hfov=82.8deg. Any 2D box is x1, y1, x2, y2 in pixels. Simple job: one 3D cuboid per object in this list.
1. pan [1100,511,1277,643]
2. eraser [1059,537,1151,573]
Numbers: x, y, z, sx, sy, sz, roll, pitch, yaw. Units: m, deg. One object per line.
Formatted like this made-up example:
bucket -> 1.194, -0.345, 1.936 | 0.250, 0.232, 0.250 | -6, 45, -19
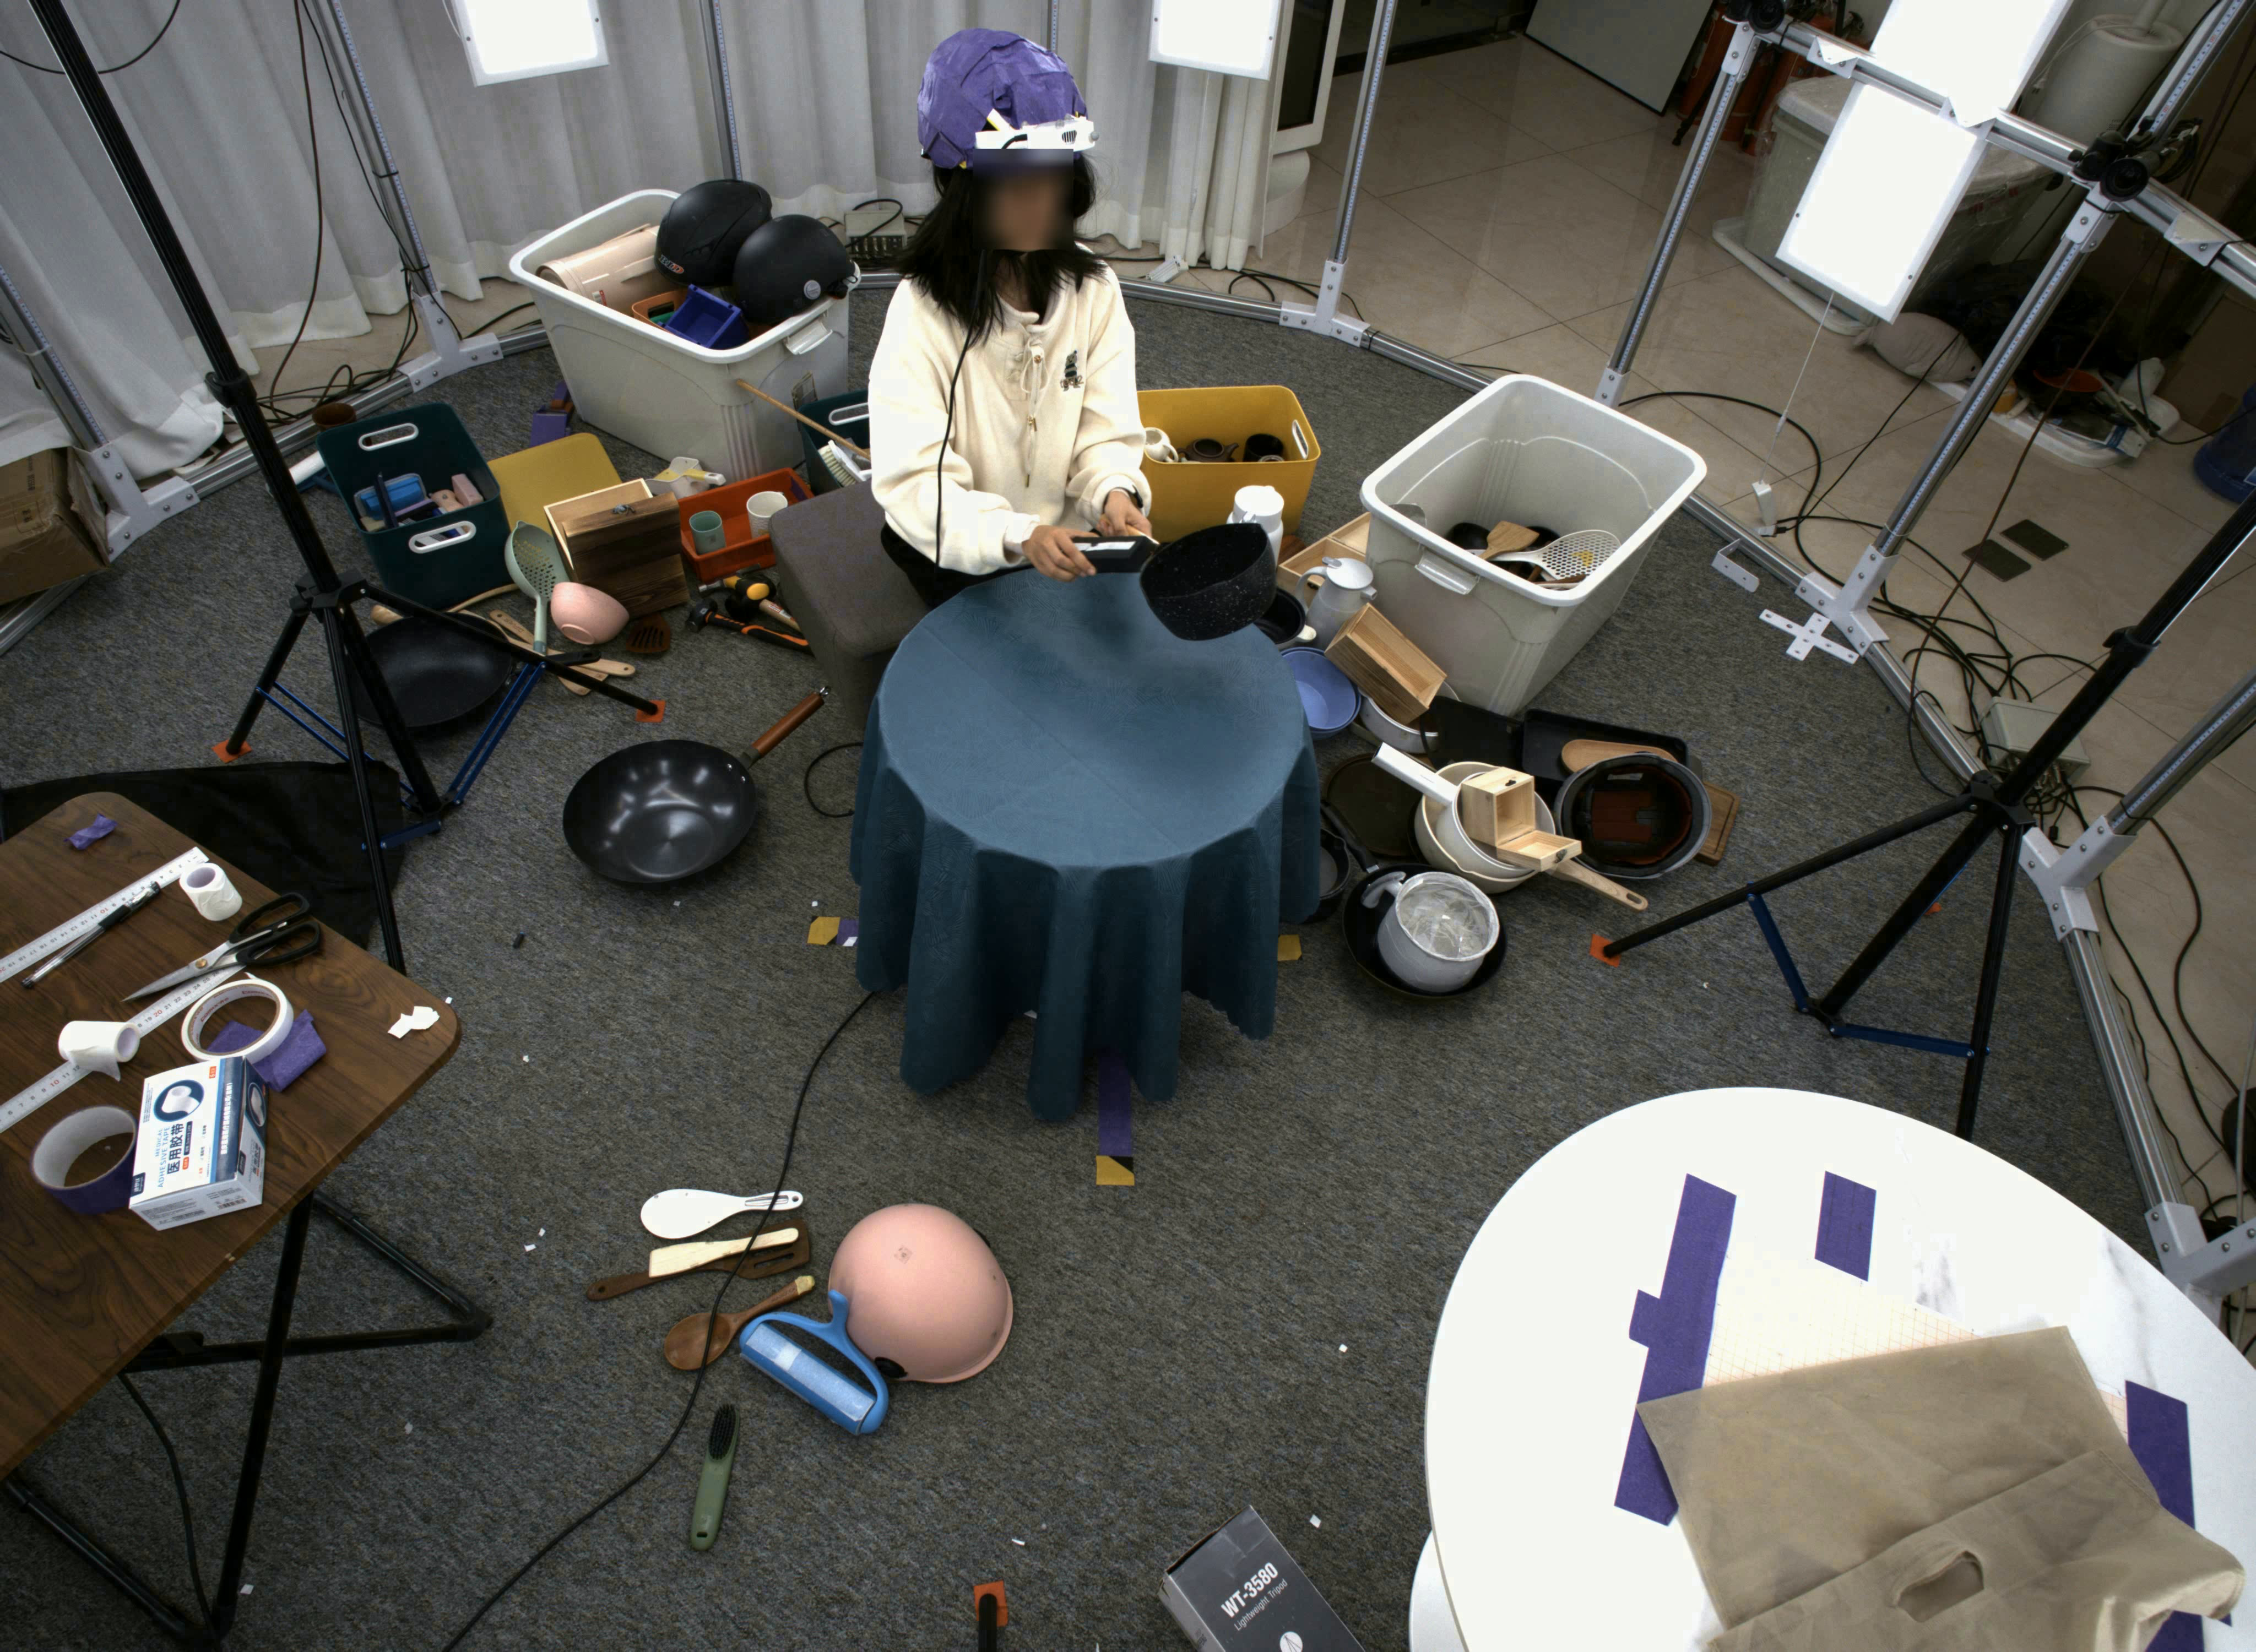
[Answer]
pan -> 0.069, -0.364, 1.811 | 0.209, 0.106, 0.348 | -37, 37, -16
eraser -> -0.032, -0.374, 1.779 | 0.126, 0.030, 0.054 | 8, 48, 37
